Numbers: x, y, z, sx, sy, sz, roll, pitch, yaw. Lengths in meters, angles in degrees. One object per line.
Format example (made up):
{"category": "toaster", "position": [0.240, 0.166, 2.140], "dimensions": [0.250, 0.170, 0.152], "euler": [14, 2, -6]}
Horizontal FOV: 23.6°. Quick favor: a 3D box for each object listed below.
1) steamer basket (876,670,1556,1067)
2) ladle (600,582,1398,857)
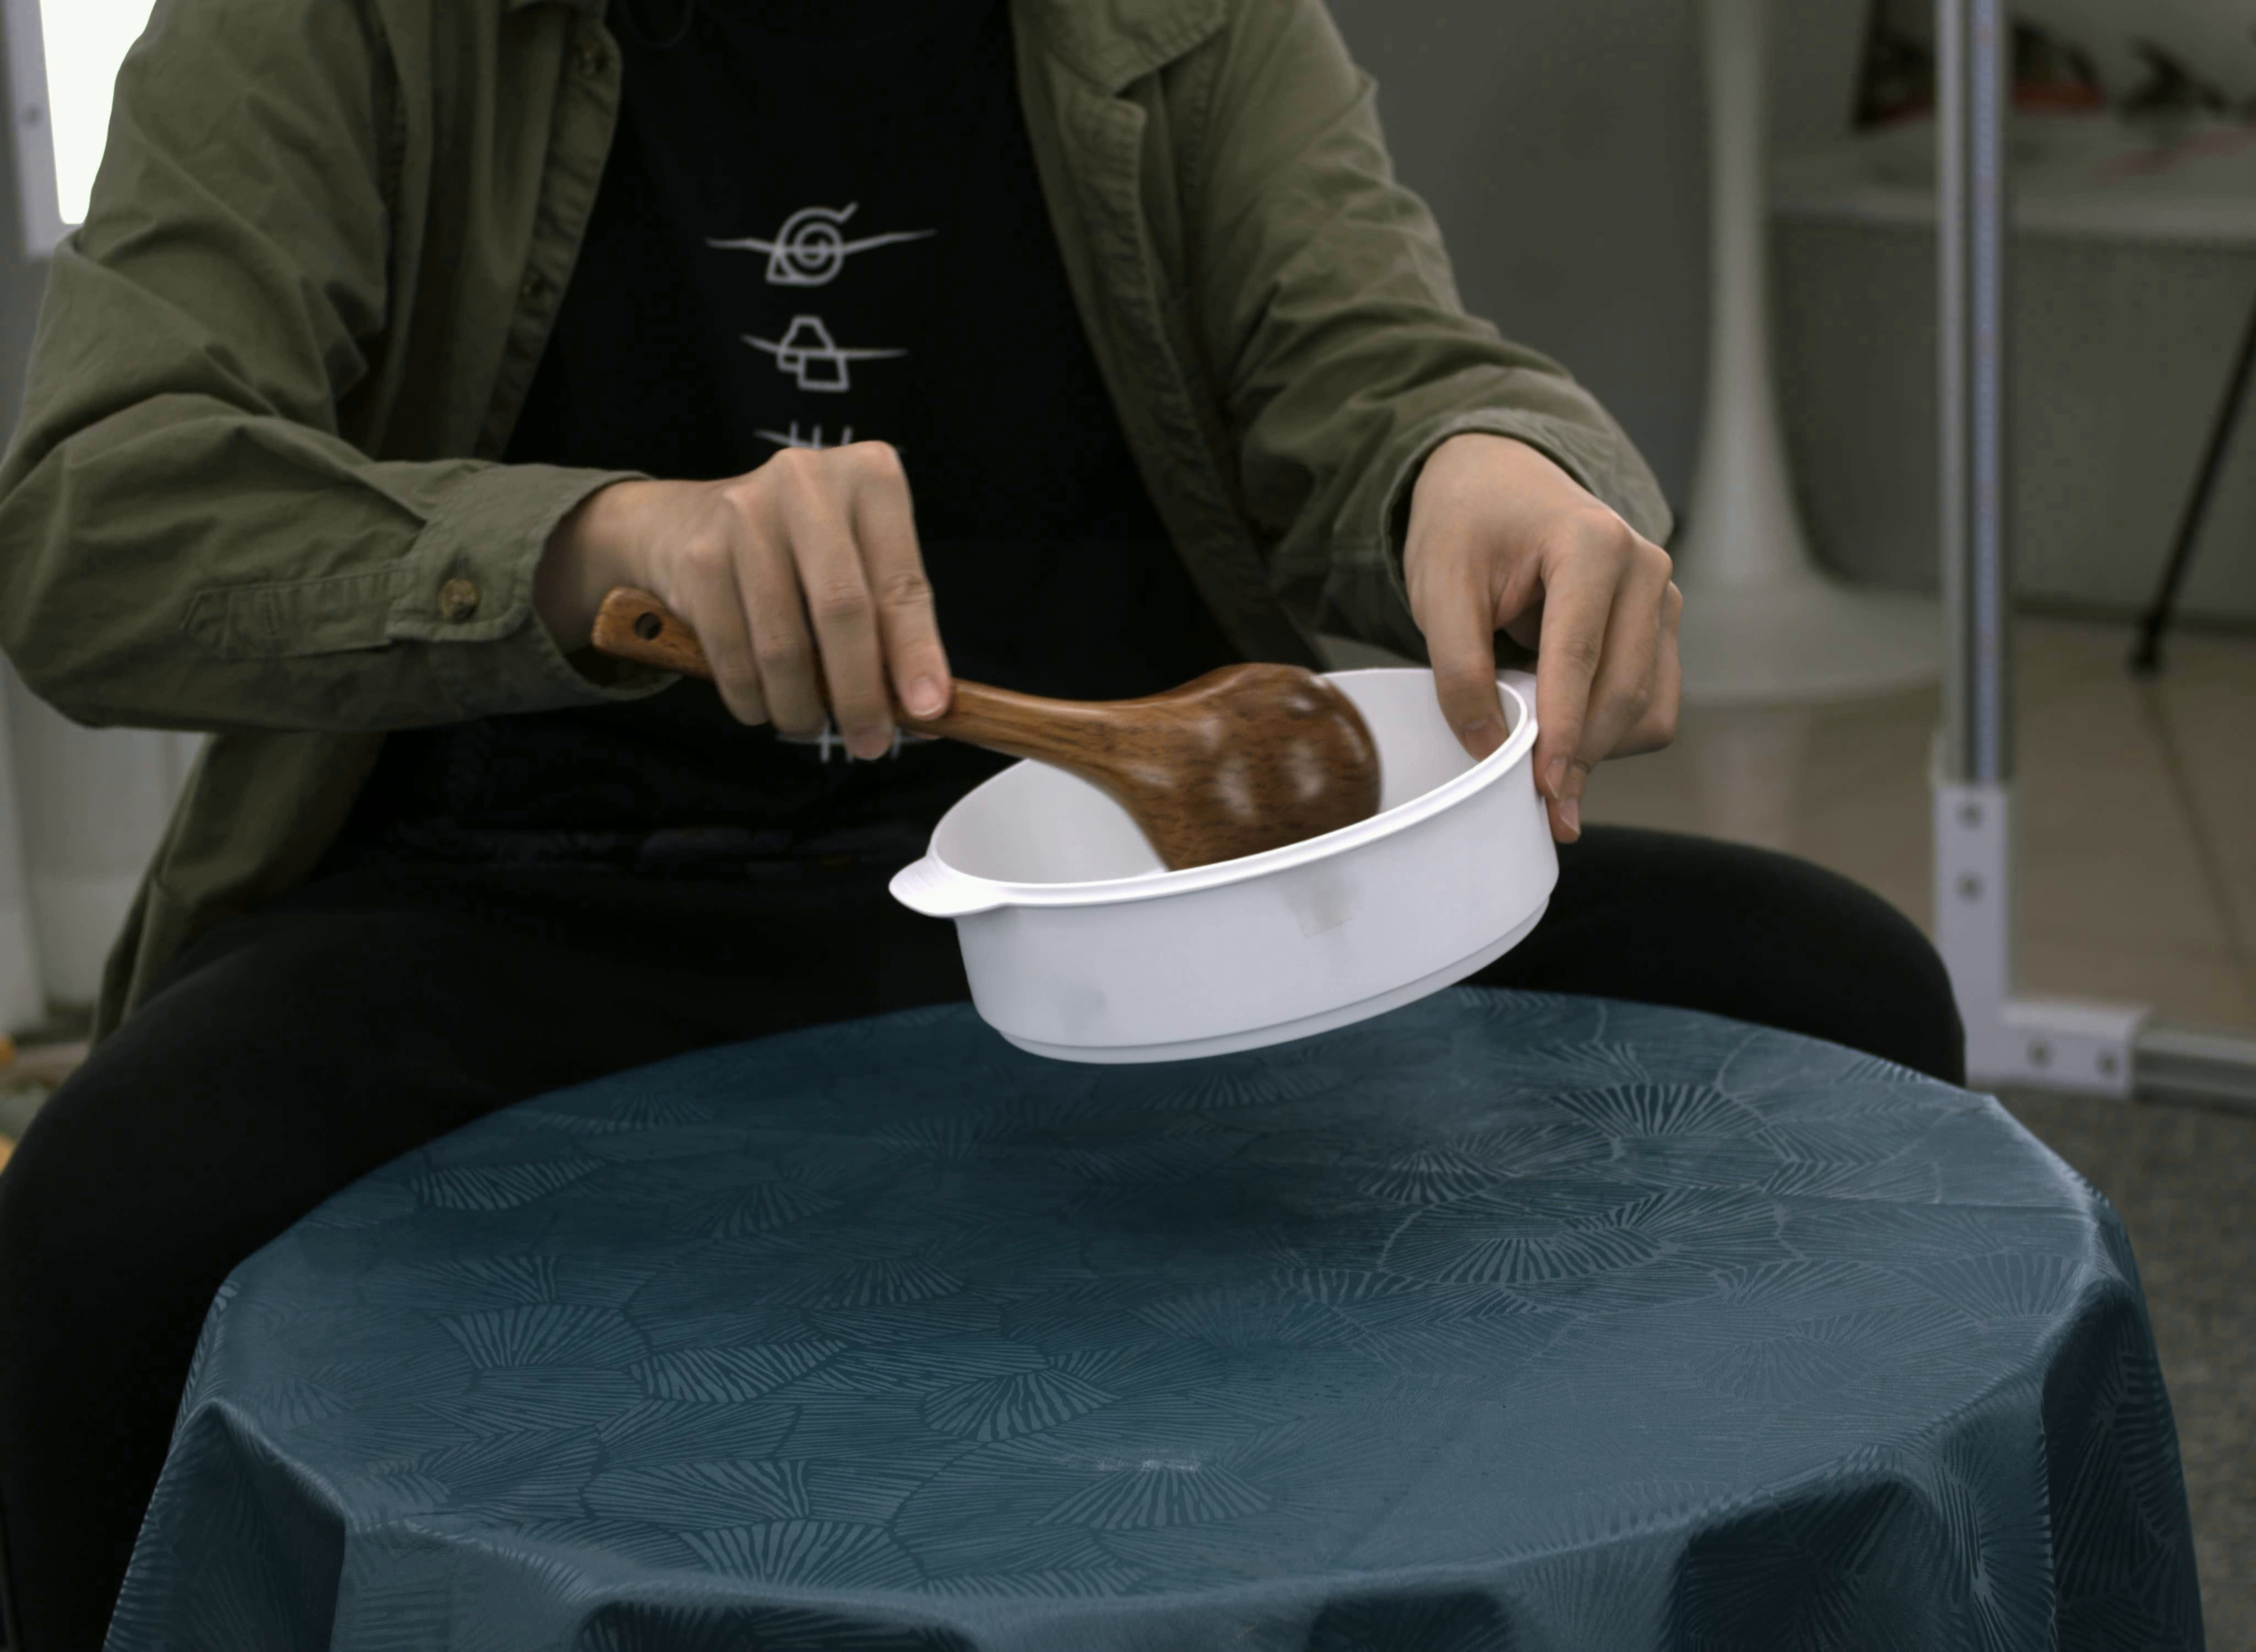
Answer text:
{"category": "steamer basket", "position": [0.034, 0.014, 1.721], "dimensions": [0.226, 0.070, 0.204], "euler": [-19, 16, -16]}
{"category": "ladle", "position": [-0.041, -0.038, 1.735], "dimensions": [0.275, 0.082, 0.075], "euler": [13, -11, 31]}
